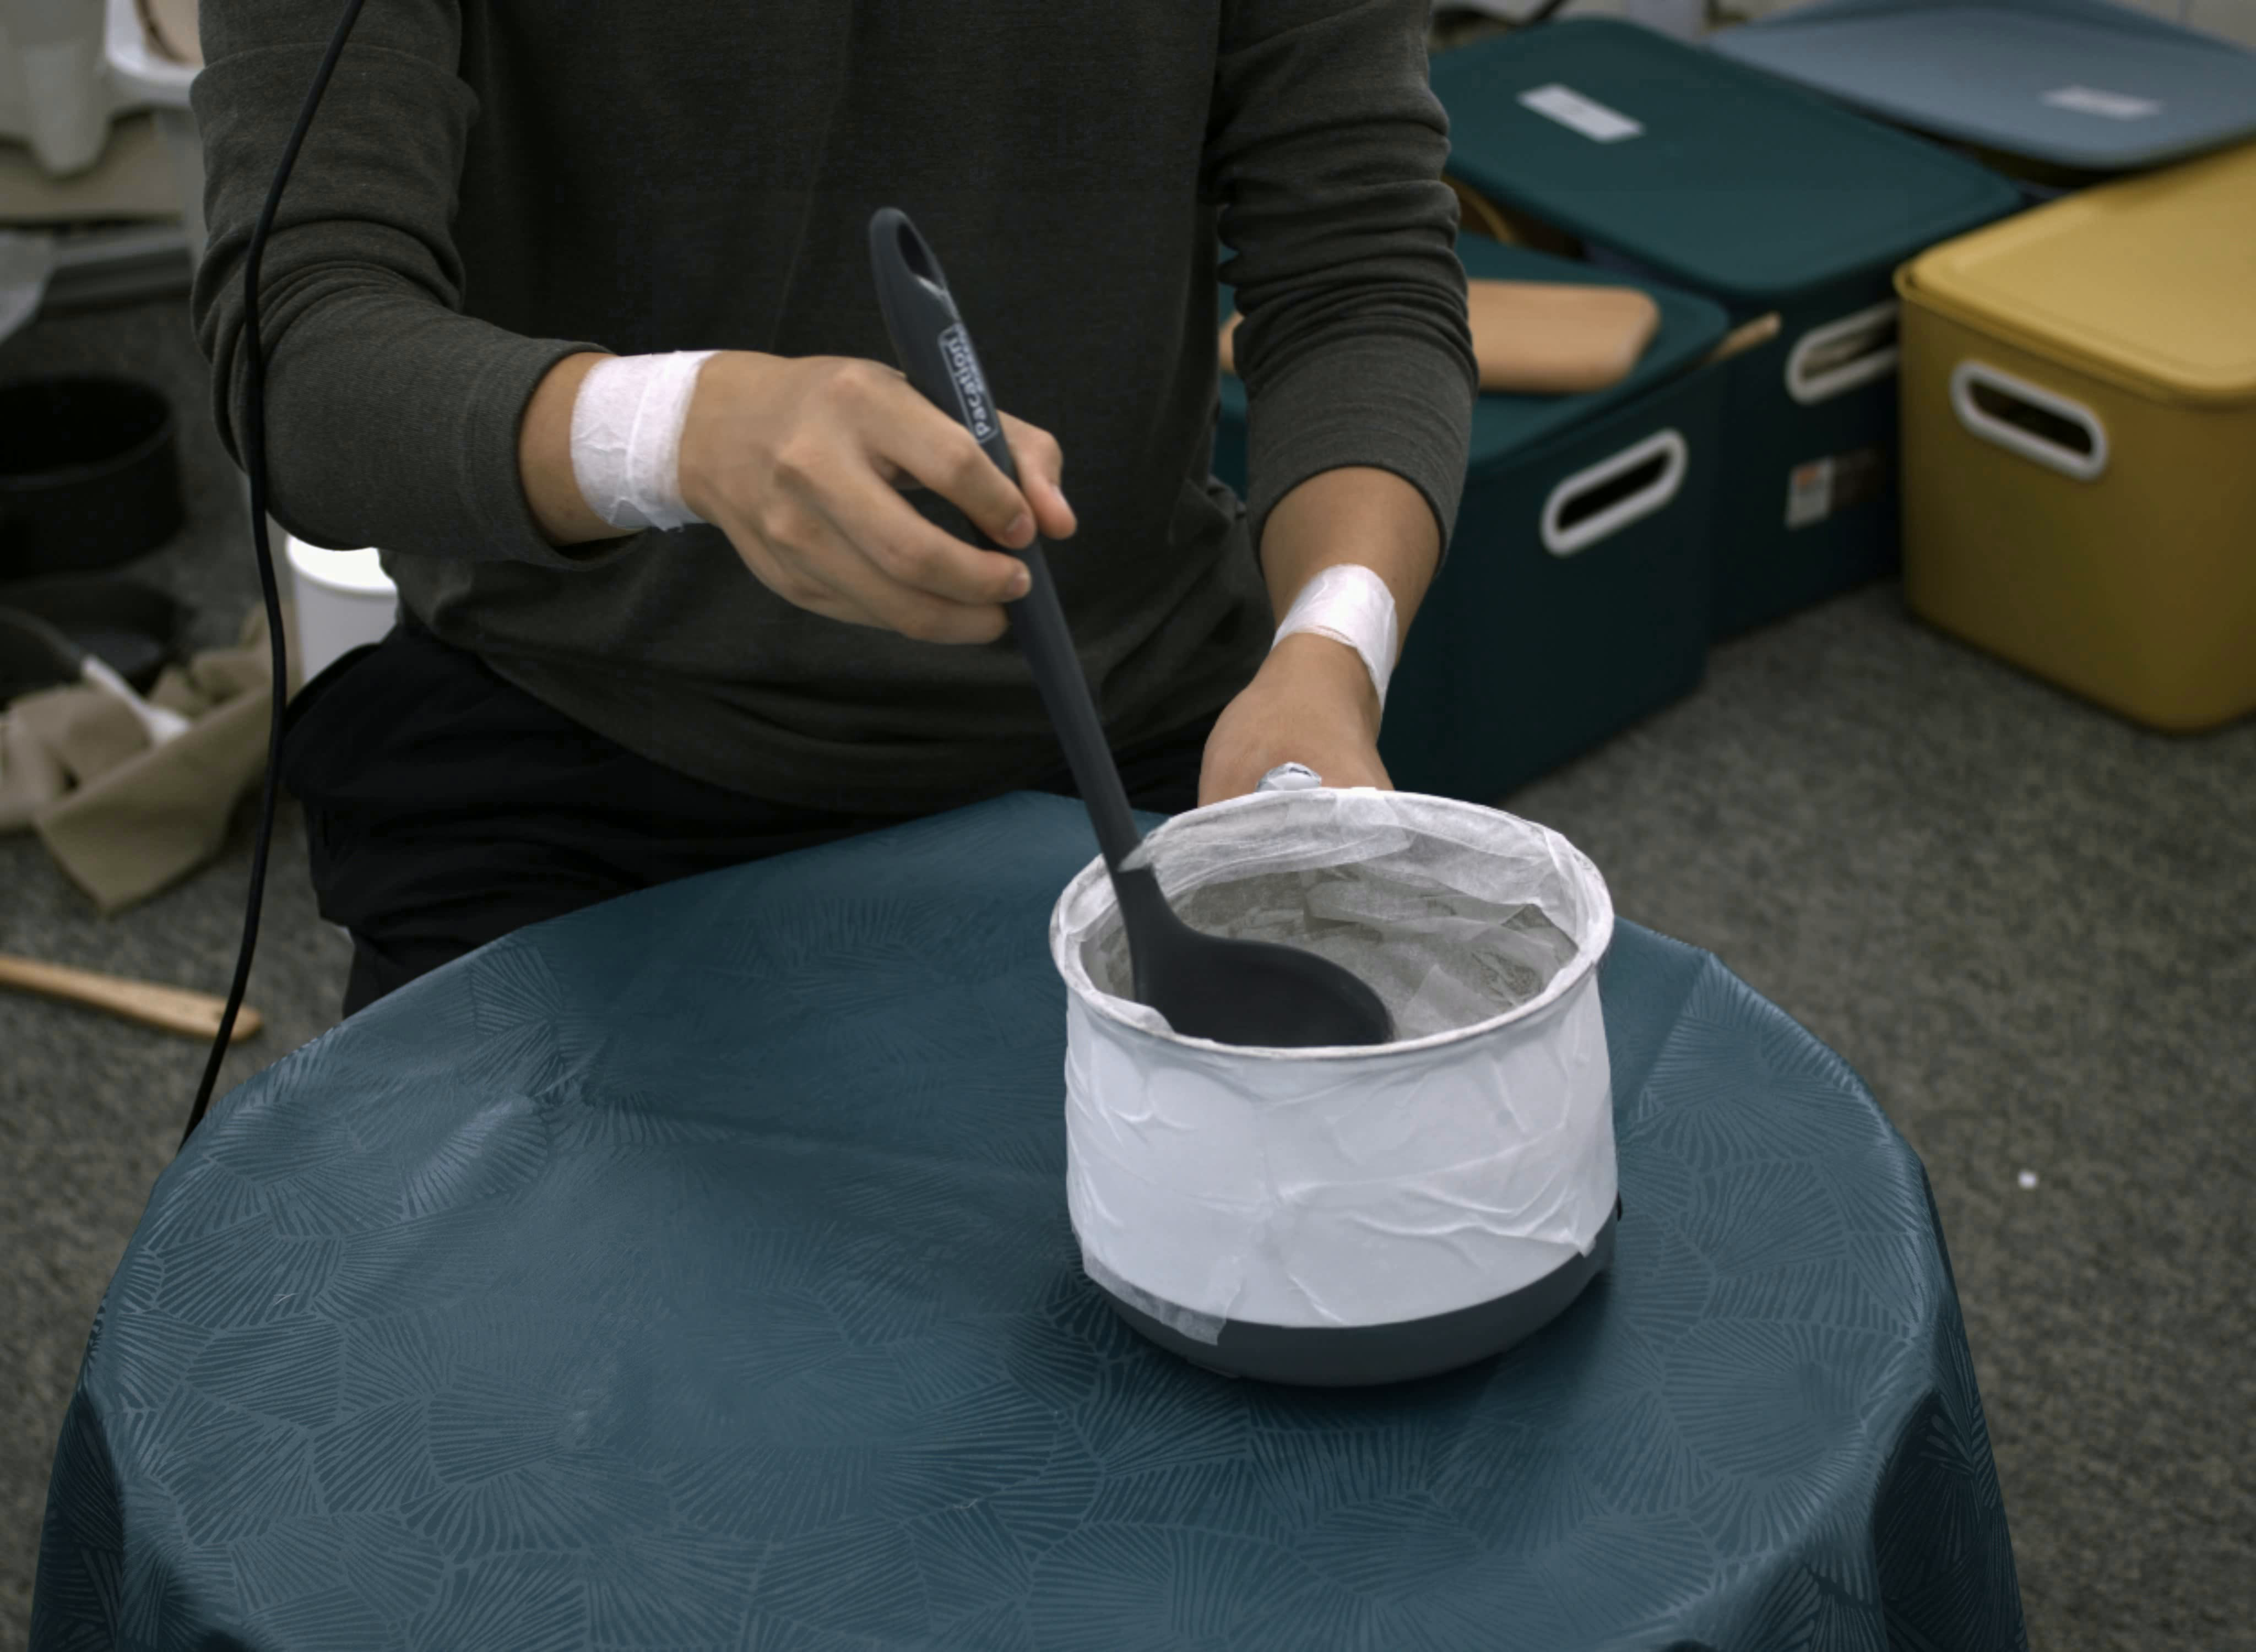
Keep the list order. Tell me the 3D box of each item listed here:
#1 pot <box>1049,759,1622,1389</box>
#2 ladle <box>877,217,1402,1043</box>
[{"bbox_3d":[0.064,0.072,1.804,0.178,0.135,0.237,-5,26,-5],"label":"pot"},{"bbox_3d":[0.000,-0.044,1.721,0.063,0.312,0.087,-8,21,37],"label":"ladle"}]
